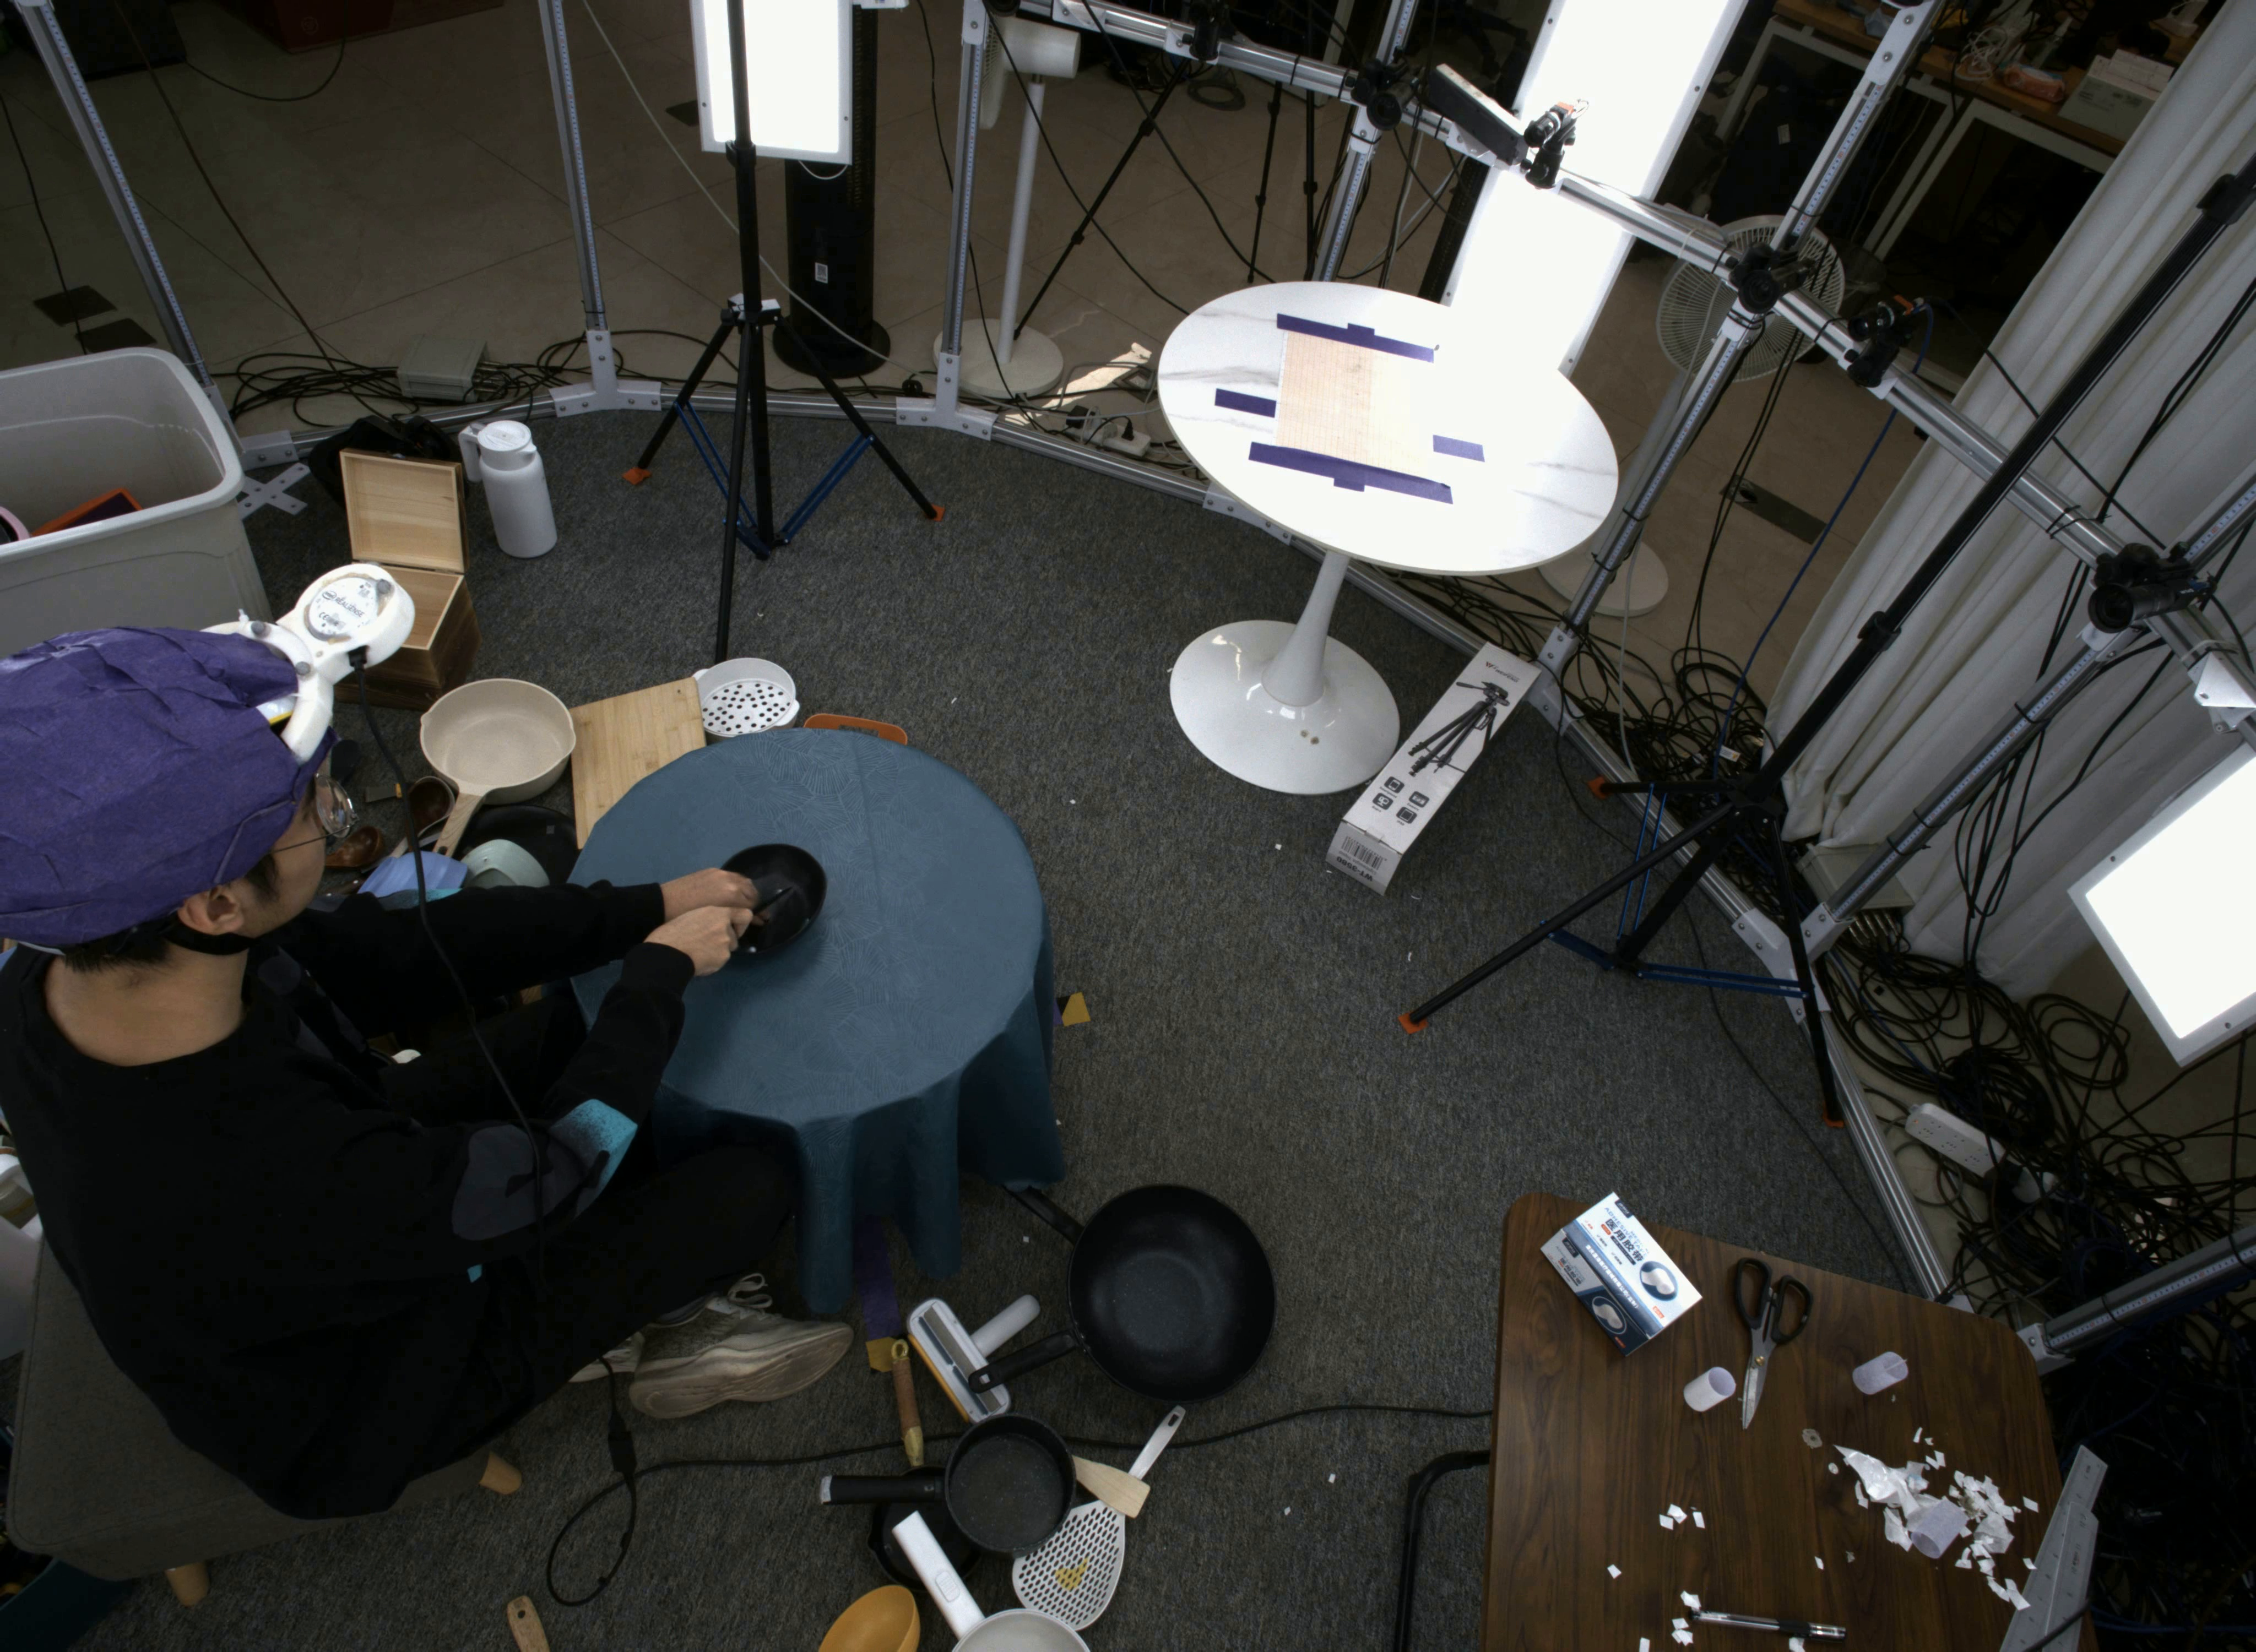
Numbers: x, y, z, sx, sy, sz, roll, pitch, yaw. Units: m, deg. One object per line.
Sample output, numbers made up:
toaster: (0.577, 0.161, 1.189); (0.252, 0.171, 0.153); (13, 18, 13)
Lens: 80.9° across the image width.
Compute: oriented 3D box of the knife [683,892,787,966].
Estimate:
knife: (-0.459, 0.112, 1.530); (0.017, 0.026, 0.225); (42, 25, 0)

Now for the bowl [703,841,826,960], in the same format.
bowl: (-0.444, 0.100, 1.591); (0.136, 0.068, 0.169); (22, 53, 3)
